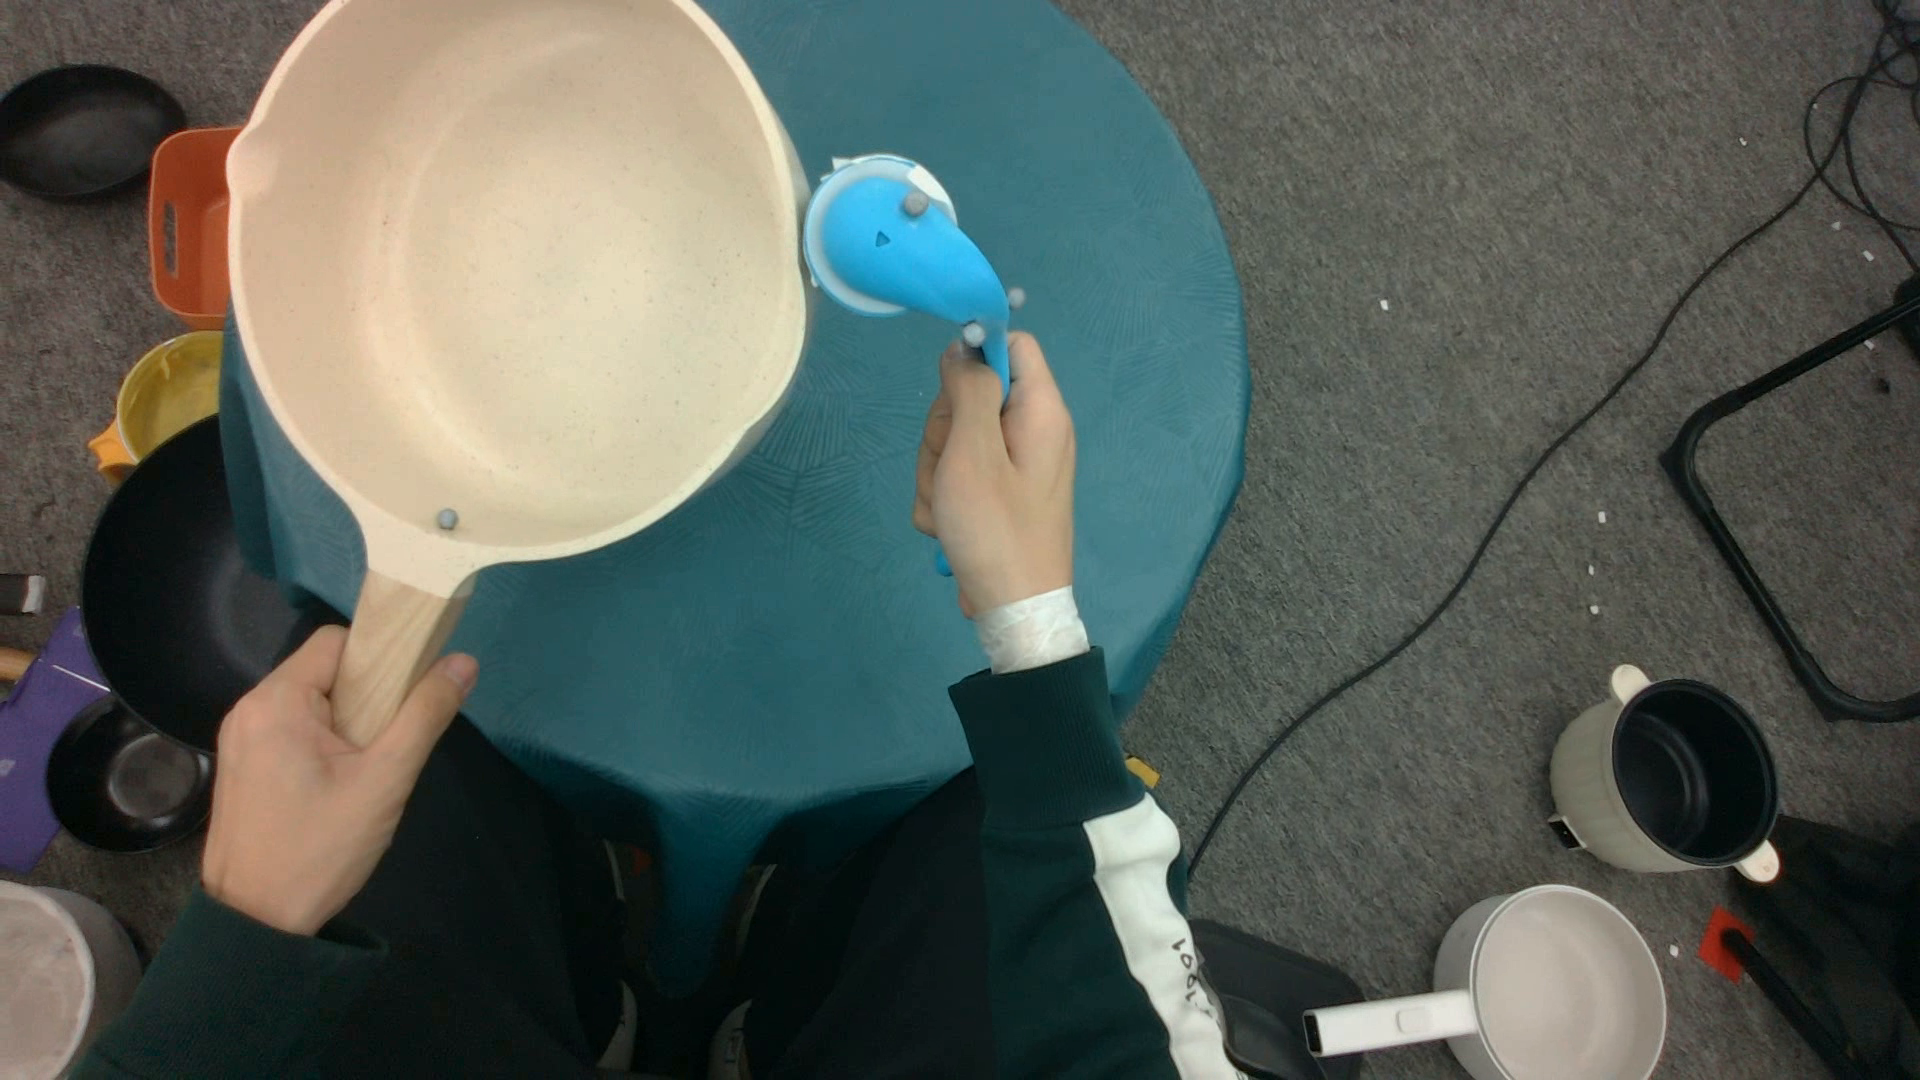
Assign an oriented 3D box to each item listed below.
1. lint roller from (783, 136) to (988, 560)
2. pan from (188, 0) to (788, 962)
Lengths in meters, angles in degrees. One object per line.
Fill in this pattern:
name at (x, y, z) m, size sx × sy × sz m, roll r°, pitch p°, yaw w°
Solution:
lint roller at (-0.020, -0.083, 0.579) m, size 0.068 × 0.229 × 0.180 m, roll -22°, pitch 110°, yaw 0°
pan at (-0.218, -0.035, 0.600) m, size 0.263 × 0.102 × 0.434 m, roll 18°, pitch 98°, yaw 8°
